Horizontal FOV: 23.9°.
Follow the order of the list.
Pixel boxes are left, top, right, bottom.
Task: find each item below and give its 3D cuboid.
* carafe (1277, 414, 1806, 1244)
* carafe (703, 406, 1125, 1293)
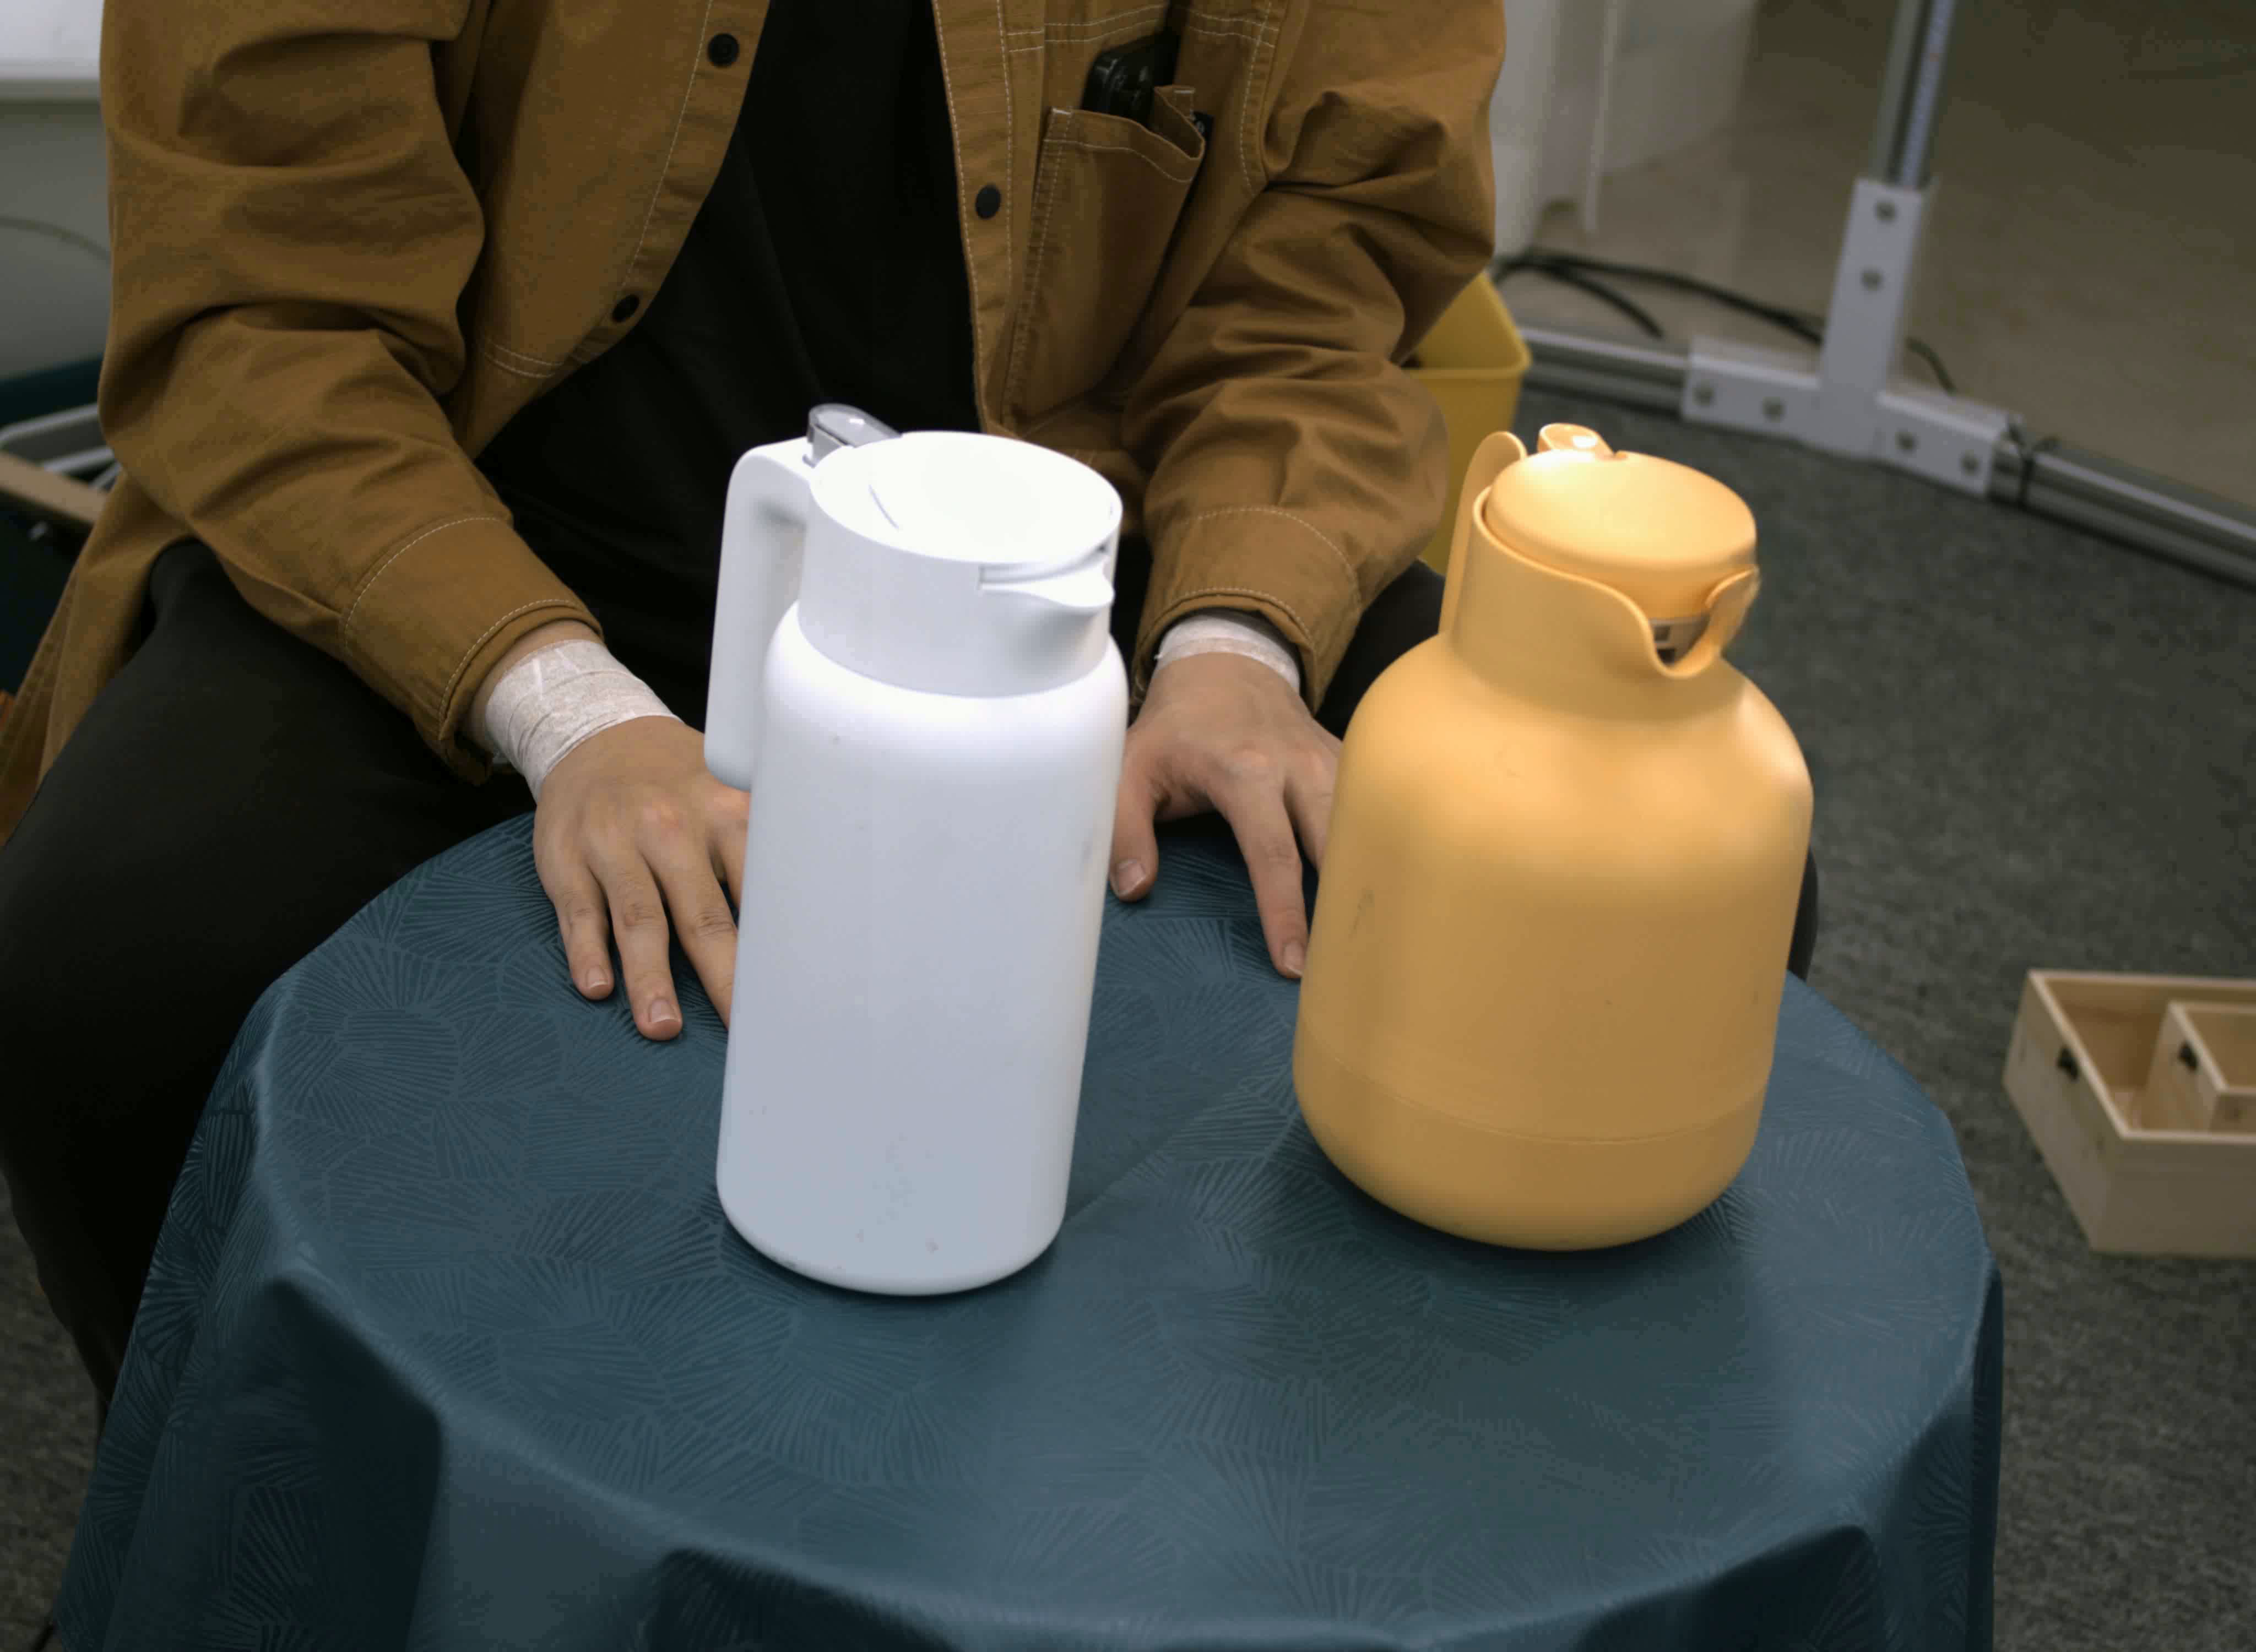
[{"bbox_3d":[0.143,-0.008,1.806,0.162,0.259,0.204,3,28,-14],"label":"carafe"},{"bbox_3d":[-0.078,0.004,1.728,0.123,0.268,0.174,-18,35,-37],"label":"carafe"}]
